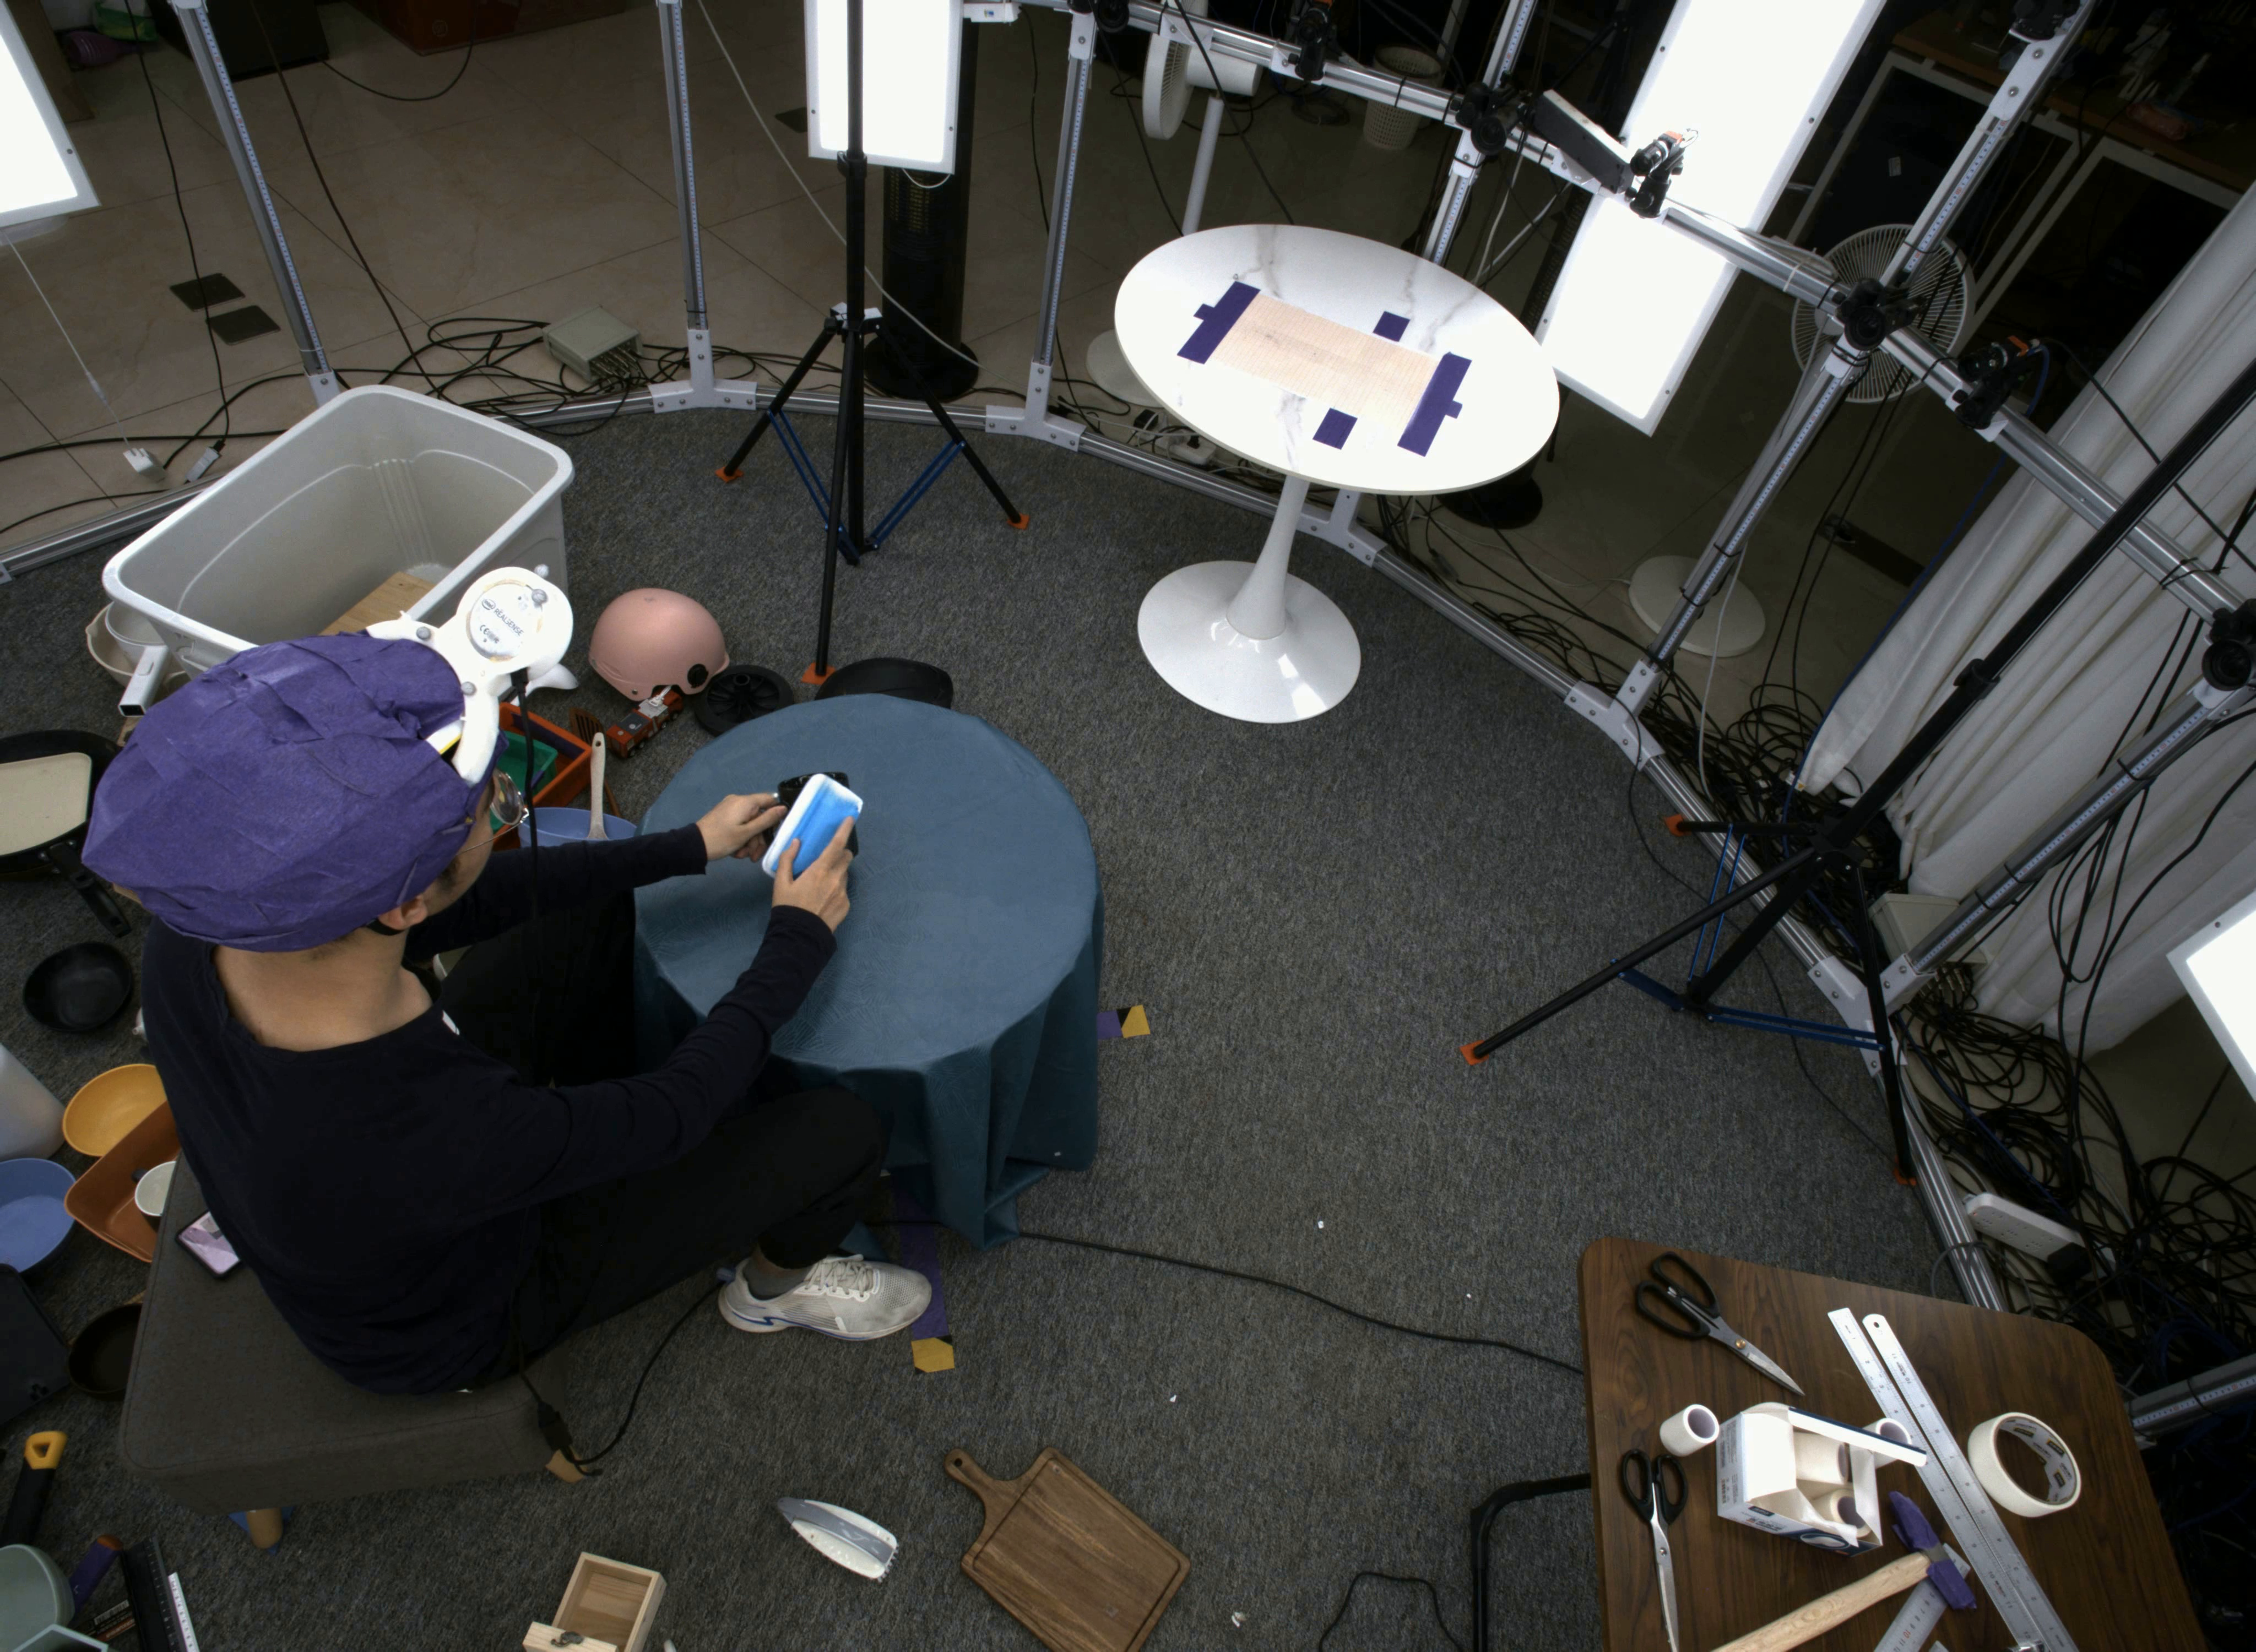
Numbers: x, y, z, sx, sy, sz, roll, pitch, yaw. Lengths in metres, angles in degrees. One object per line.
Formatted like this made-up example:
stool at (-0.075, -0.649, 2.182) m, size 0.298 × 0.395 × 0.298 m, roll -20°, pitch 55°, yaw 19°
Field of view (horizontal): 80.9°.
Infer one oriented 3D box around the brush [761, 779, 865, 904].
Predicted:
brush at (-0.377, 0.018, 1.574) m, size 0.087 × 0.054 × 0.144 m, roll 40°, pitch 71°, yaw -35°

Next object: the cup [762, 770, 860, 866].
cup at (-0.405, -0.005, 1.636) m, size 0.085 × 0.108 × 0.124 m, roll 13°, pitch 27°, yaw 43°
